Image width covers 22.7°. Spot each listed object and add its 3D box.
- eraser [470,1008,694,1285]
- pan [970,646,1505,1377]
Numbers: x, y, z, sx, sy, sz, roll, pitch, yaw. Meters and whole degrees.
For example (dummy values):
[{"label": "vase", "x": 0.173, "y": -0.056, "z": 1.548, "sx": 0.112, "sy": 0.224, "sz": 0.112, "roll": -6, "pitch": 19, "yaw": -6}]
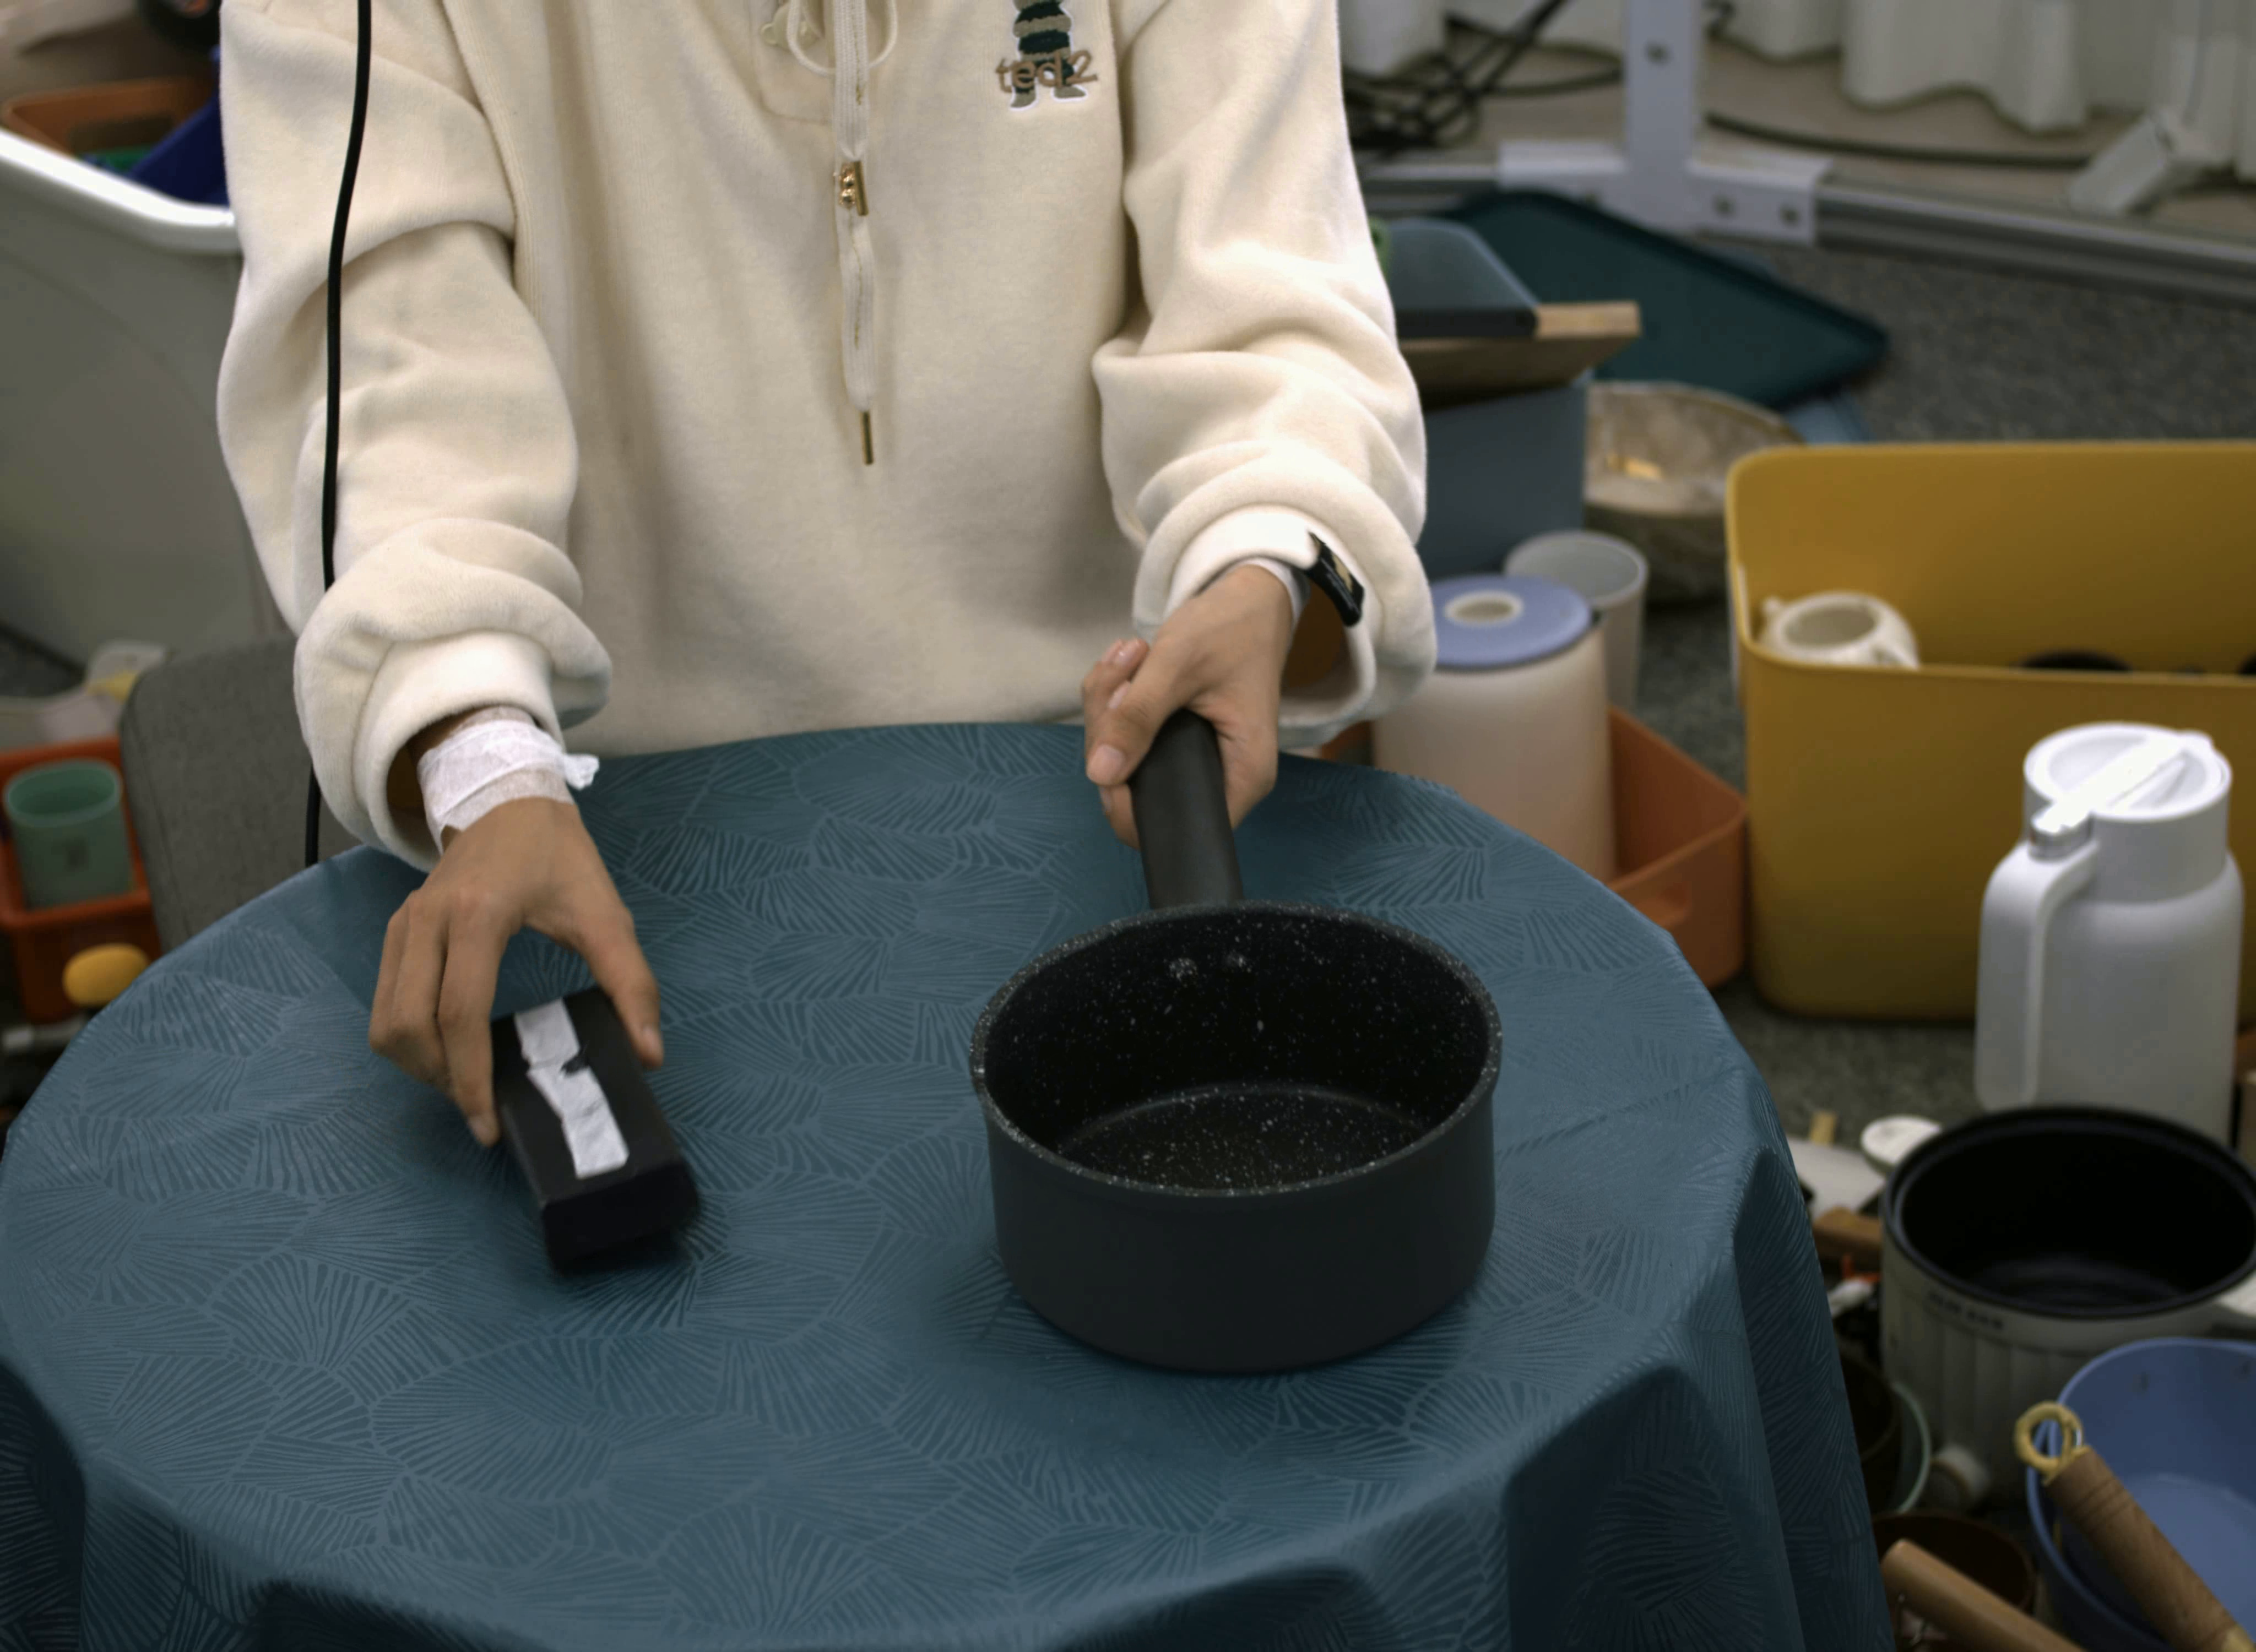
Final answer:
[{"label": "eraser", "x": -0.182, "y": 0.106, "z": 1.868, "sx": 0.053, "sy": 0.030, "sz": 0.127, "roll": -16, "pitch": 29, "yaw": -9}, {"label": "pan", "x": 0.032, "y": 0.058, "z": 1.877, "sx": 0.171, "sy": 0.085, "sz": 0.334, "roll": -4, "pitch": 31, "yaw": -1}]
